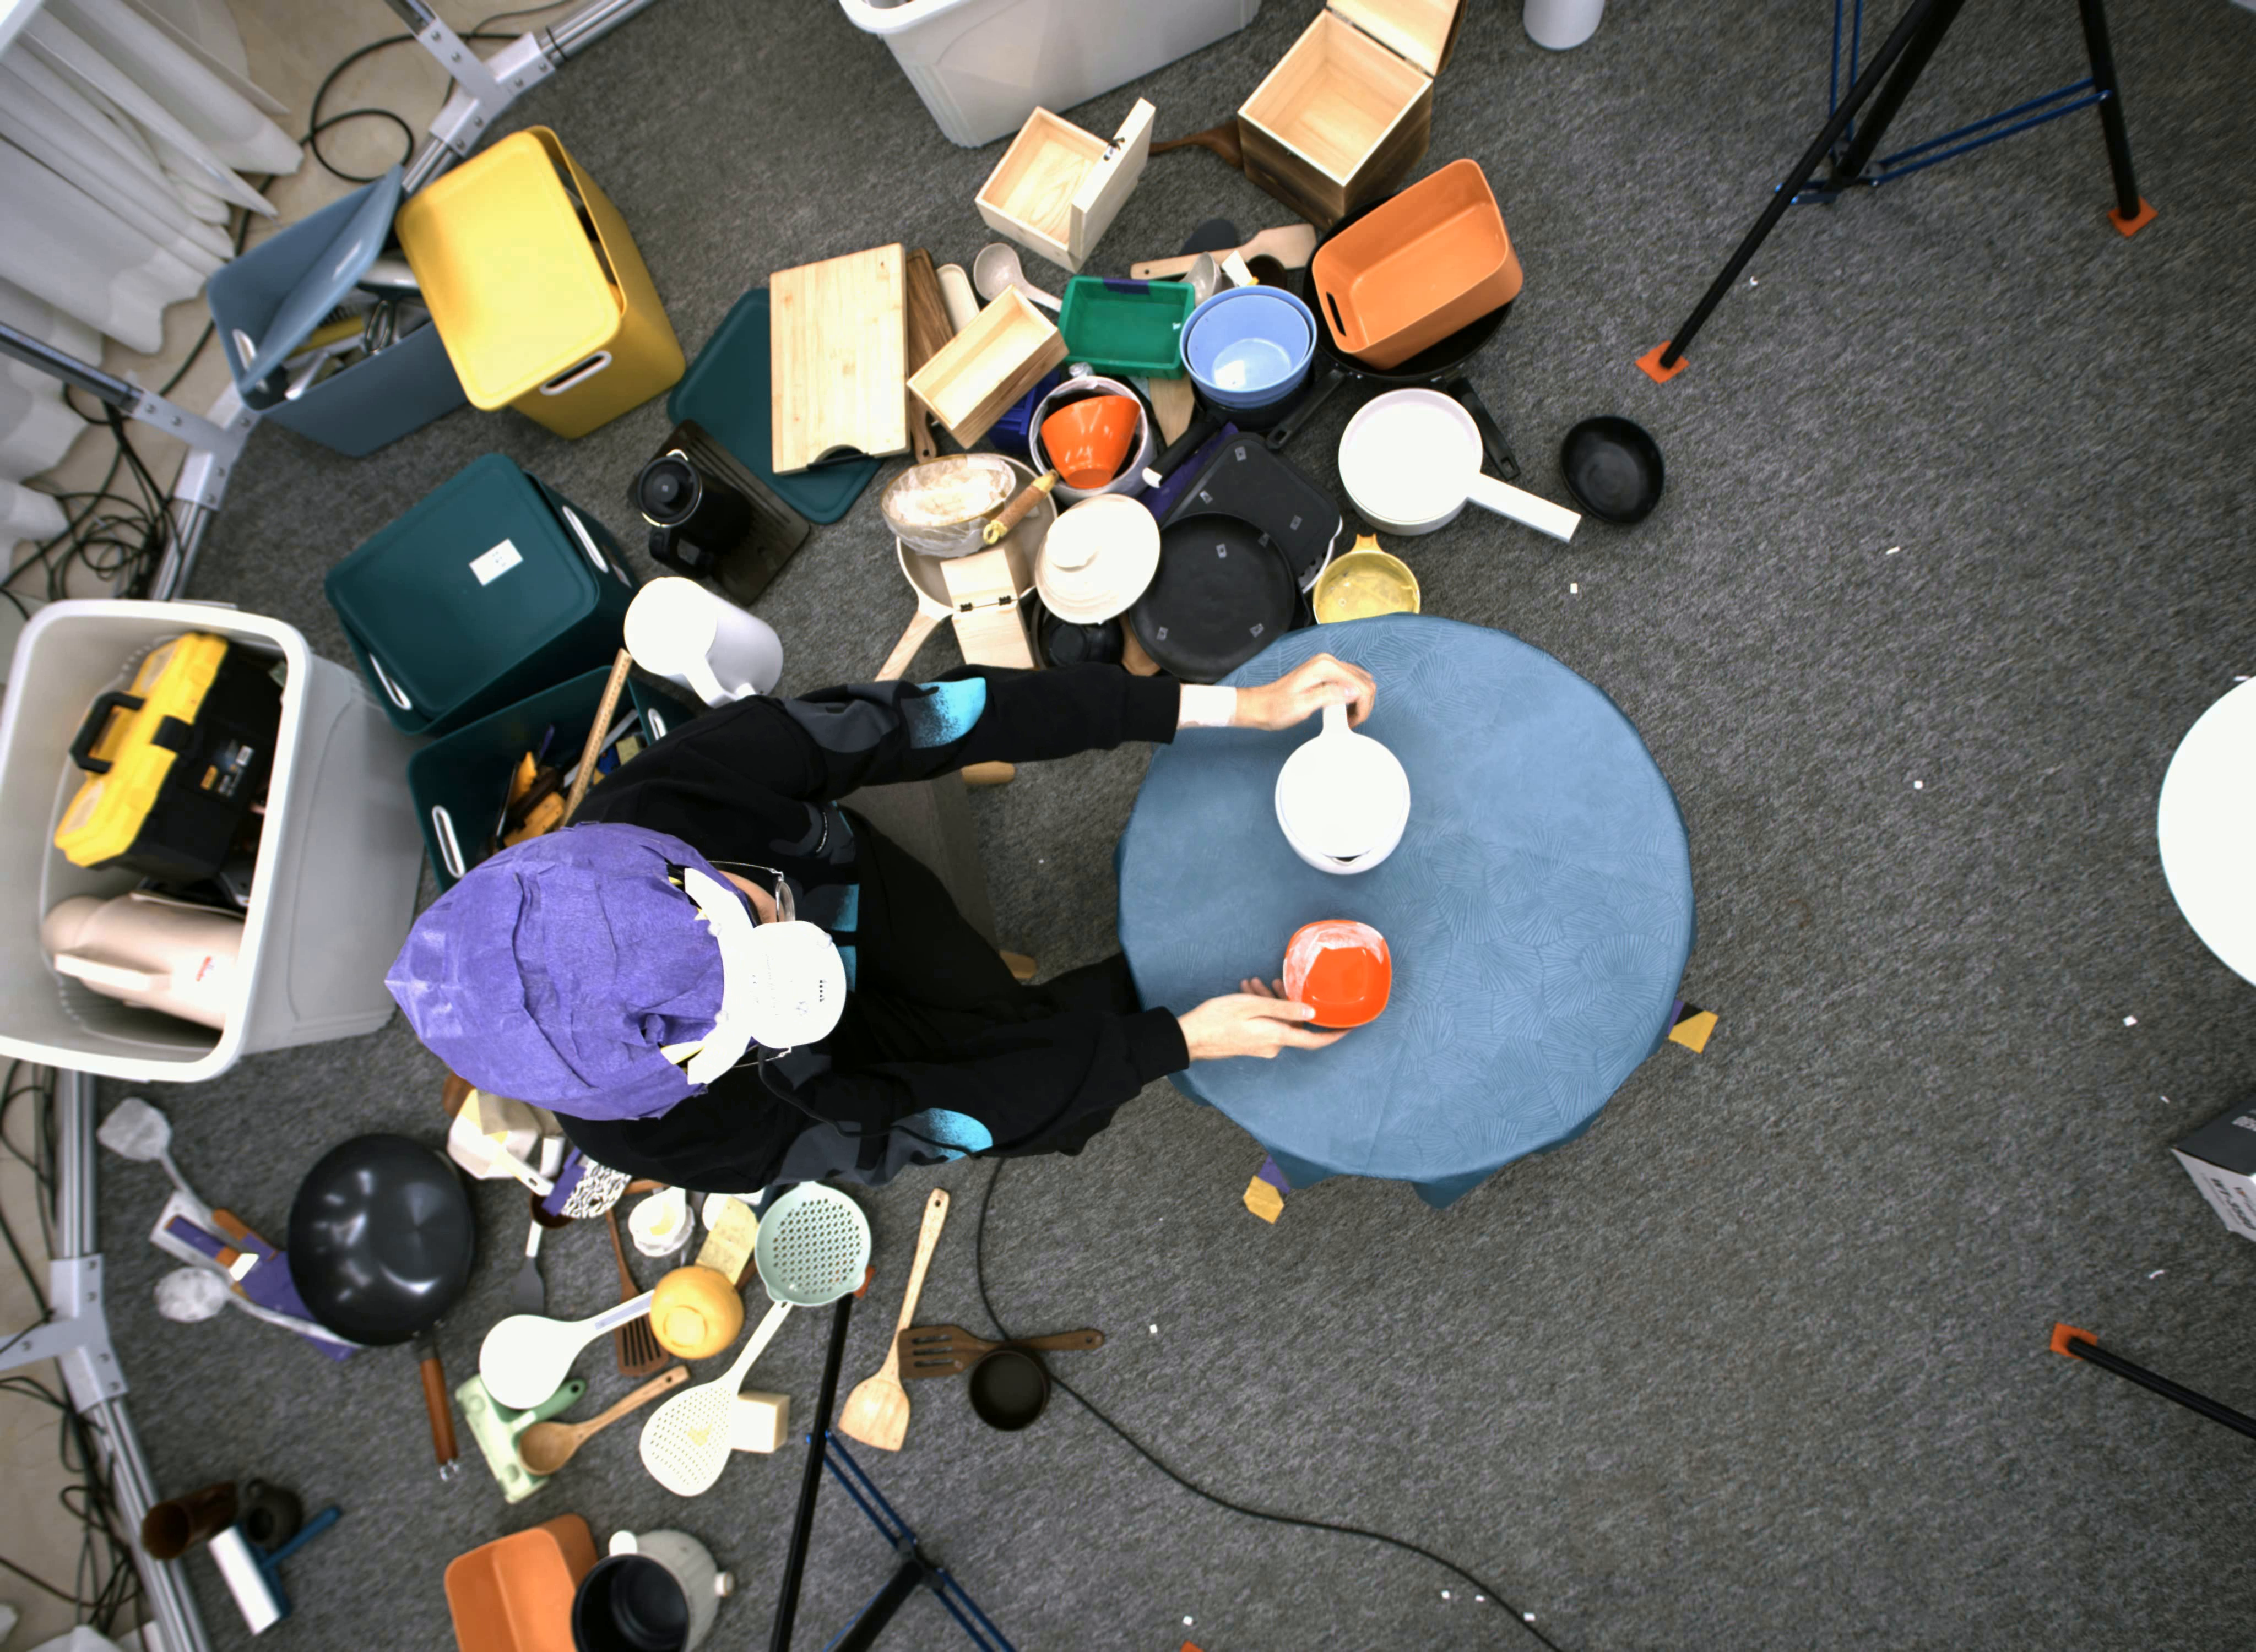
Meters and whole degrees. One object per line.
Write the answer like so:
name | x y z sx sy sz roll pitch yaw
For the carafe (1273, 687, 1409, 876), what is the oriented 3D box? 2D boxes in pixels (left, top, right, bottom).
carafe | 0.211 -0.046 1.386 0.133 0.183 0.189 -7 82 8

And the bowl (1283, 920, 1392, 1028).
bowl | 0.216 0.151 1.434 0.119 0.051 0.118 0 89 8
